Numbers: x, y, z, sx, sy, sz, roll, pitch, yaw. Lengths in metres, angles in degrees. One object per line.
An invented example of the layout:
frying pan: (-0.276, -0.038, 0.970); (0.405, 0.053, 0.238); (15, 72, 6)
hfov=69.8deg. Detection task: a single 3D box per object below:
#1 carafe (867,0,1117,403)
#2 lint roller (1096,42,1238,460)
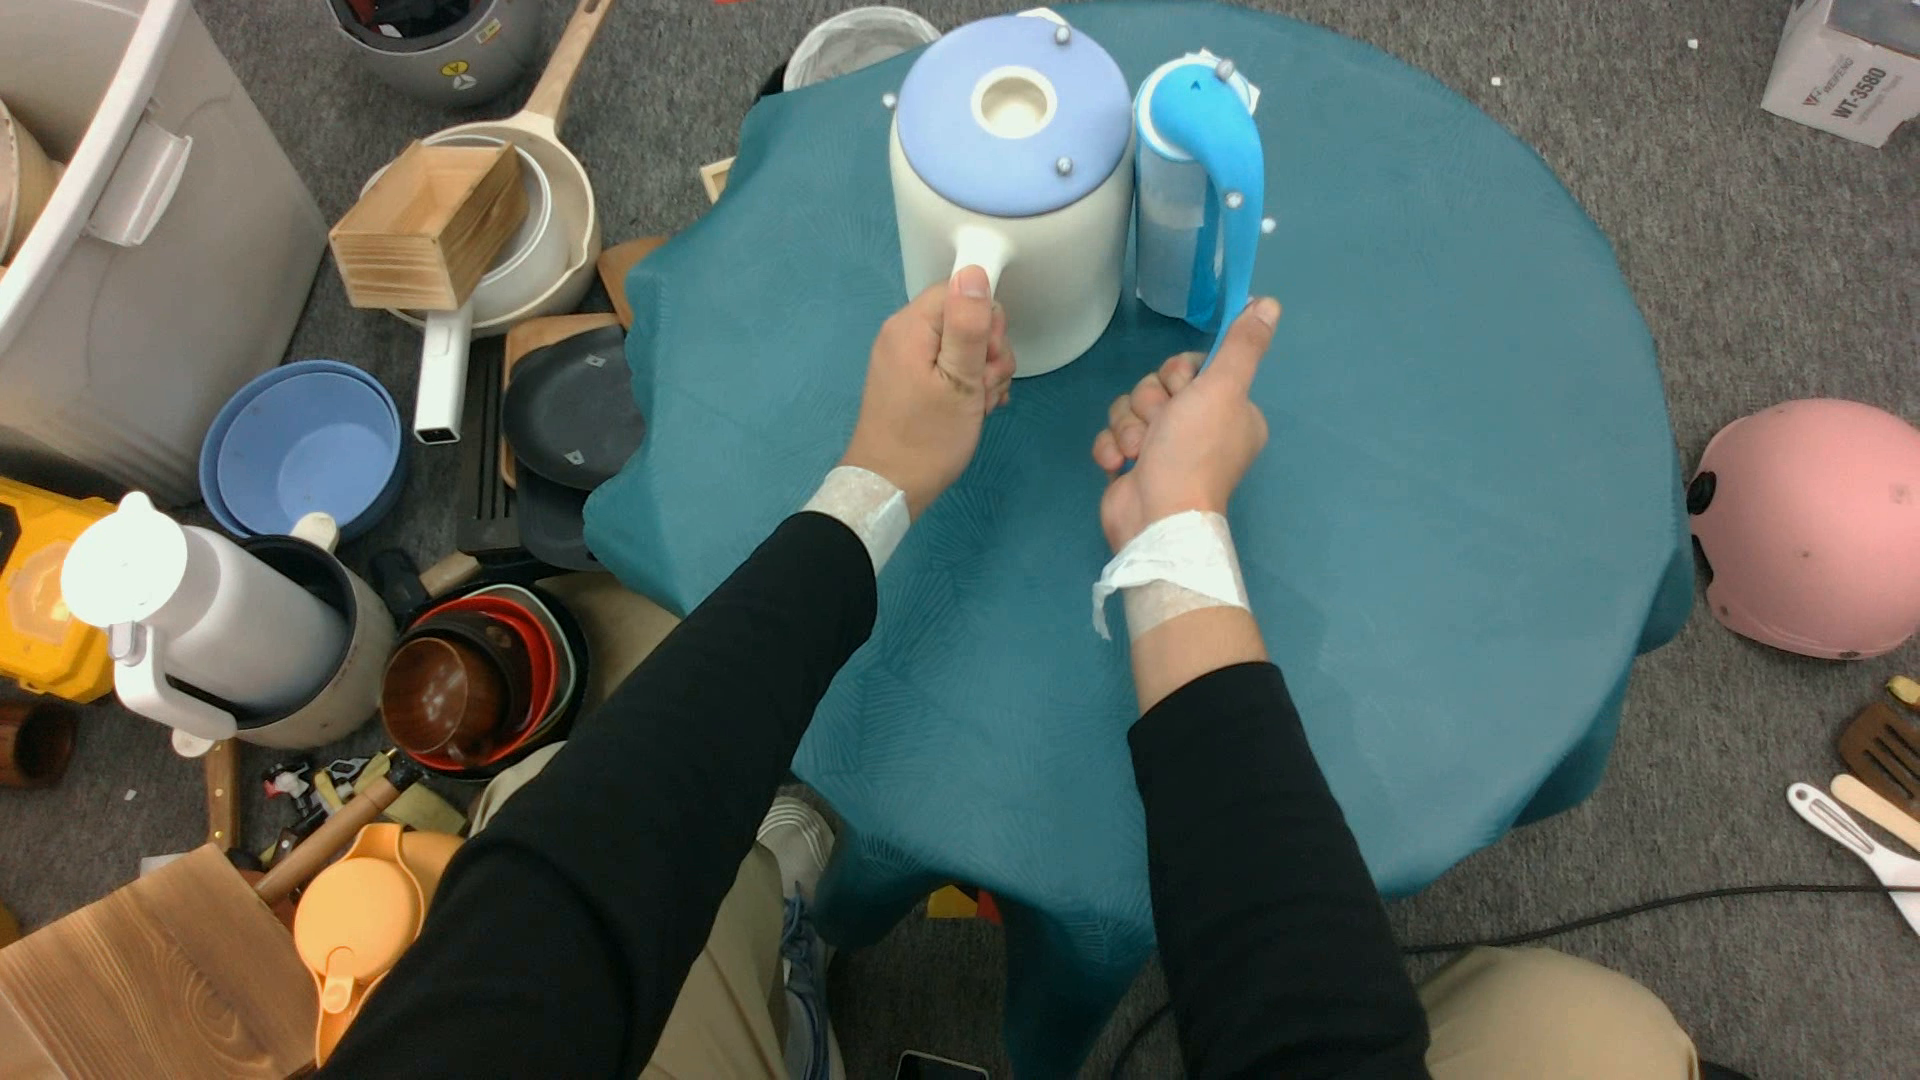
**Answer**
carafe: (0.012, -0.172, 0.758); (0.132, 0.182, 0.191); (11, 72, 6)
lint roller: (0.105, -0.129, 0.721); (0.068, 0.228, 0.180); (0, 80, 4)
